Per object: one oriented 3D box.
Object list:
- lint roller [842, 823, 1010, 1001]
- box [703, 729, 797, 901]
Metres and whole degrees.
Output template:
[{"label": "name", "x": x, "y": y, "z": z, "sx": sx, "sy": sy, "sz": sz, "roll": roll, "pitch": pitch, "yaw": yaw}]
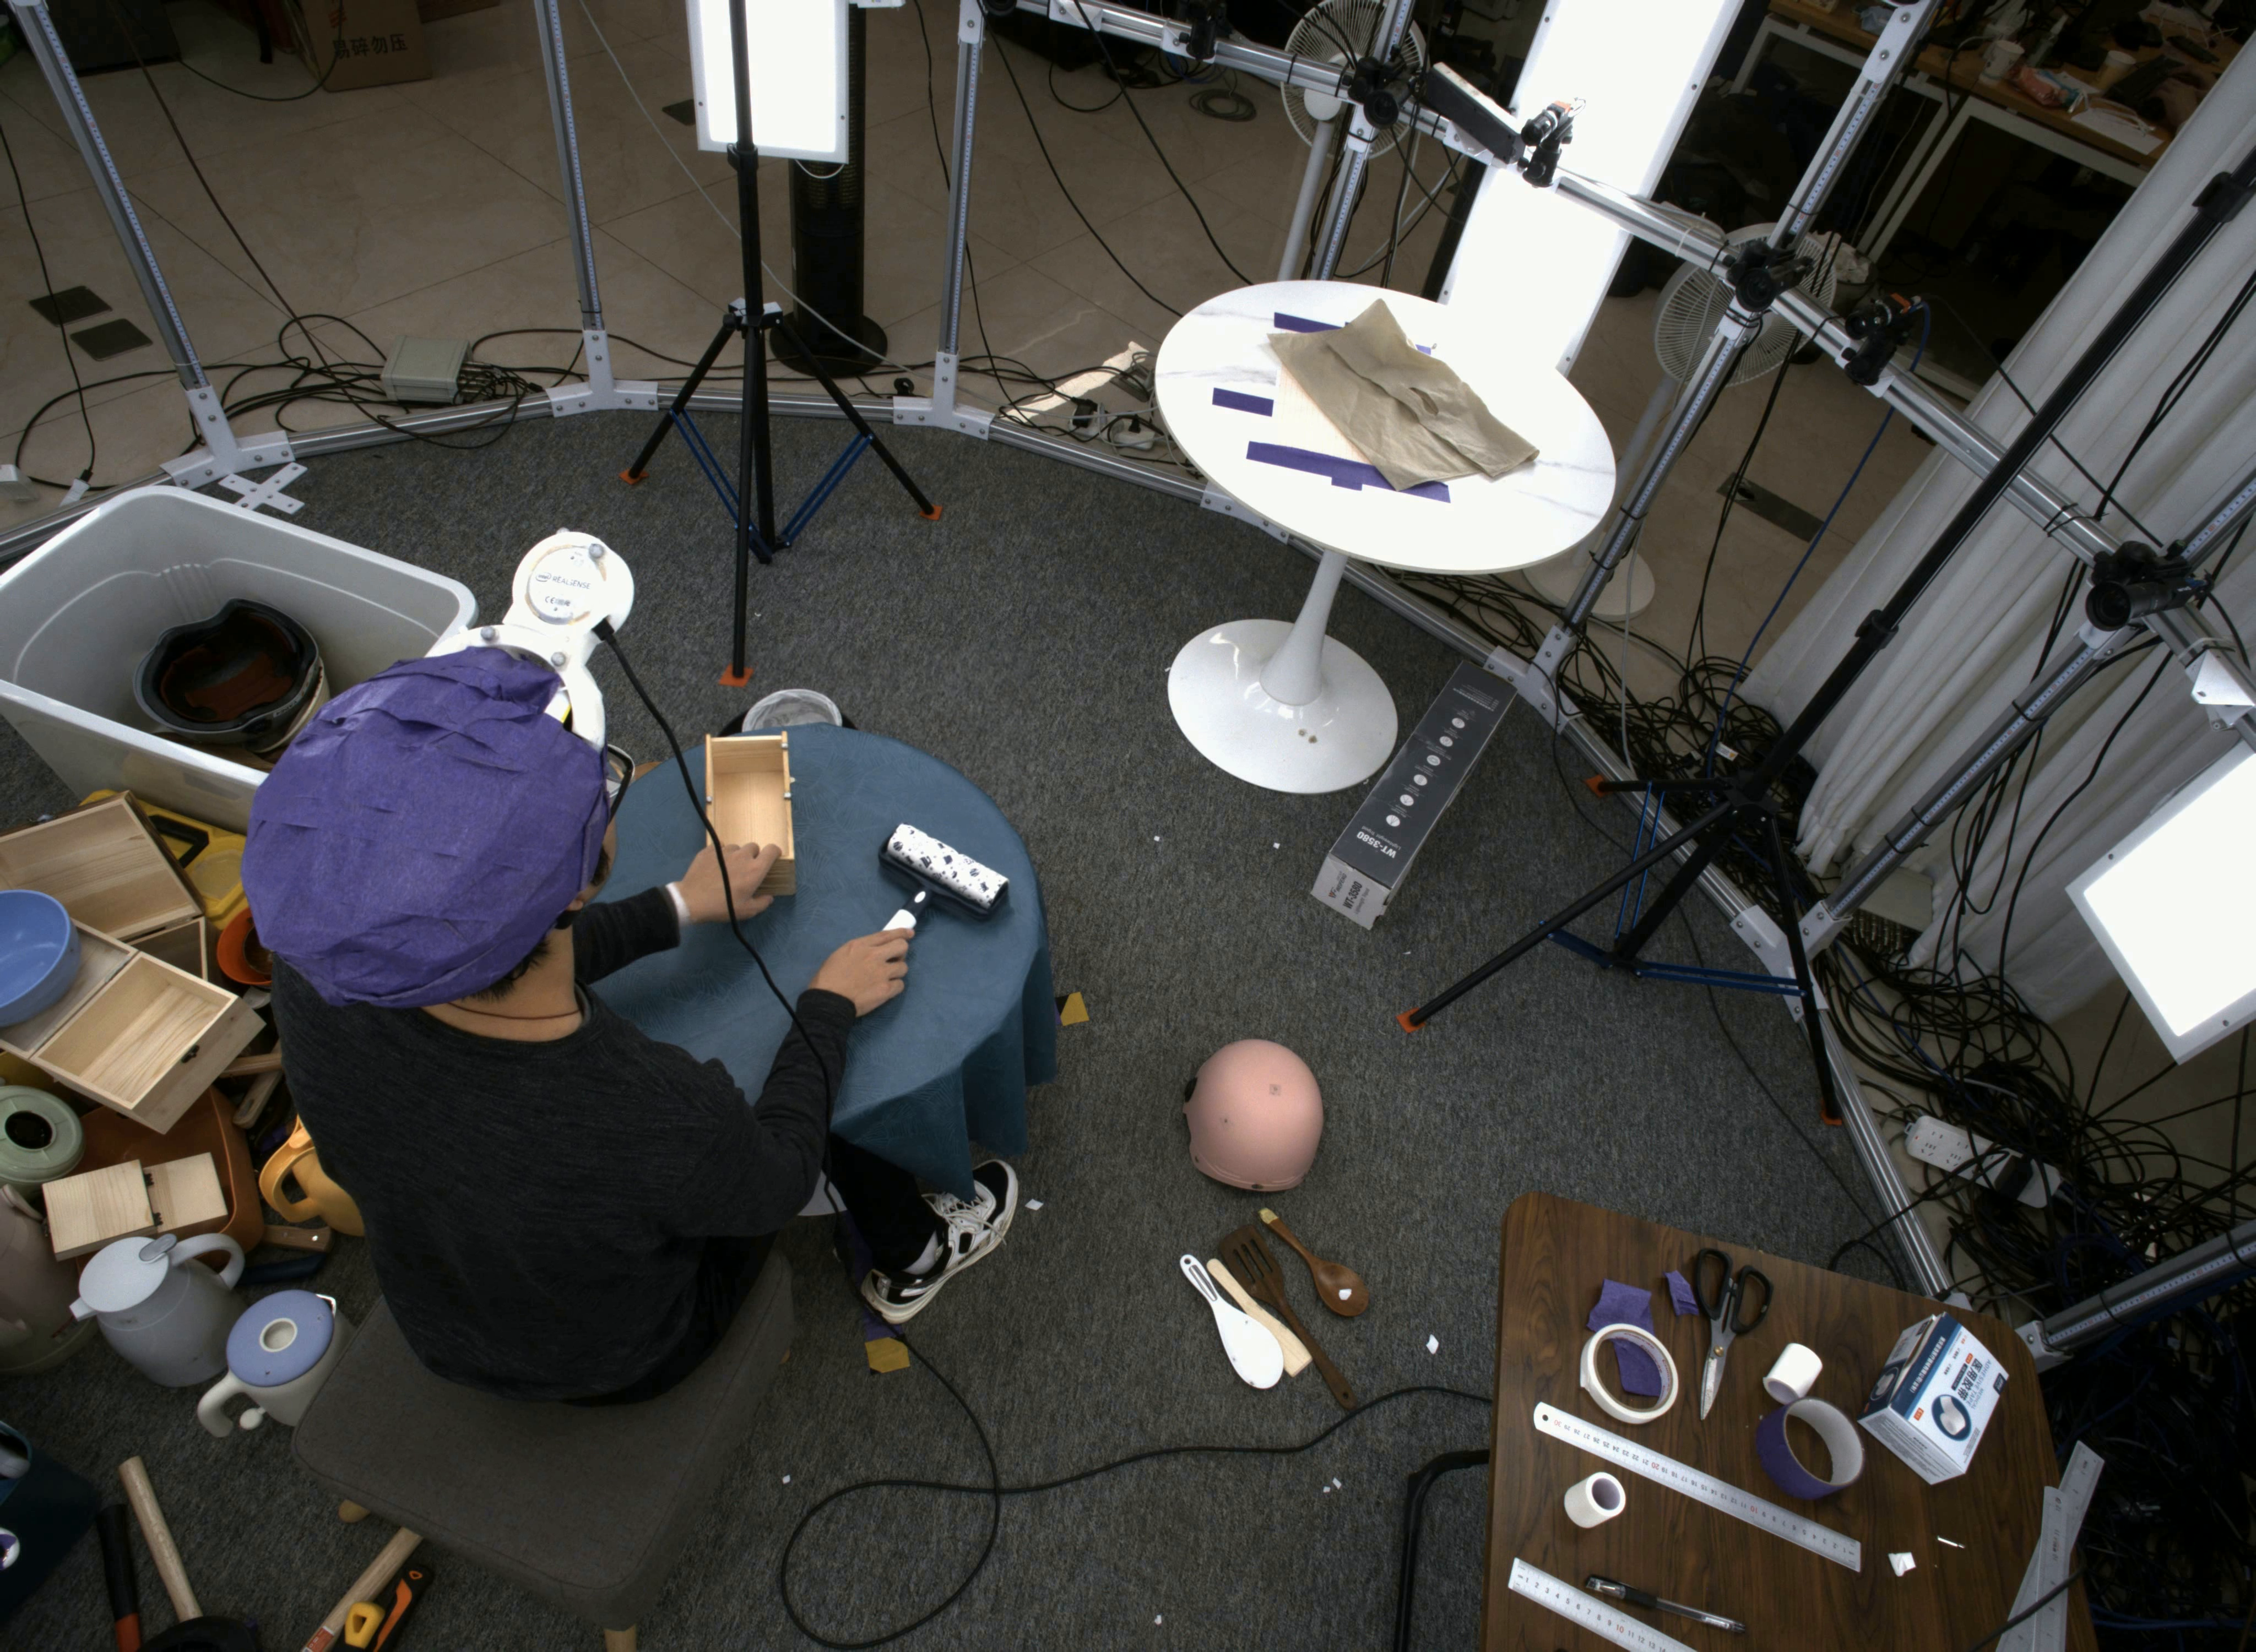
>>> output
[{"label": "lint roller", "x": -0.281, "y": 0.118, "z": 1.639, "sx": 0.174, "sy": 0.051, "sz": 0.246, "roll": 29, "pitch": 53, "yaw": 7}, {"label": "box", "x": -0.488, "y": -0.017, "z": 1.664, "sx": 0.108, "sy": 0.082, "sz": 0.206, "roll": -4, "pitch": 55, "yaw": -16}]
